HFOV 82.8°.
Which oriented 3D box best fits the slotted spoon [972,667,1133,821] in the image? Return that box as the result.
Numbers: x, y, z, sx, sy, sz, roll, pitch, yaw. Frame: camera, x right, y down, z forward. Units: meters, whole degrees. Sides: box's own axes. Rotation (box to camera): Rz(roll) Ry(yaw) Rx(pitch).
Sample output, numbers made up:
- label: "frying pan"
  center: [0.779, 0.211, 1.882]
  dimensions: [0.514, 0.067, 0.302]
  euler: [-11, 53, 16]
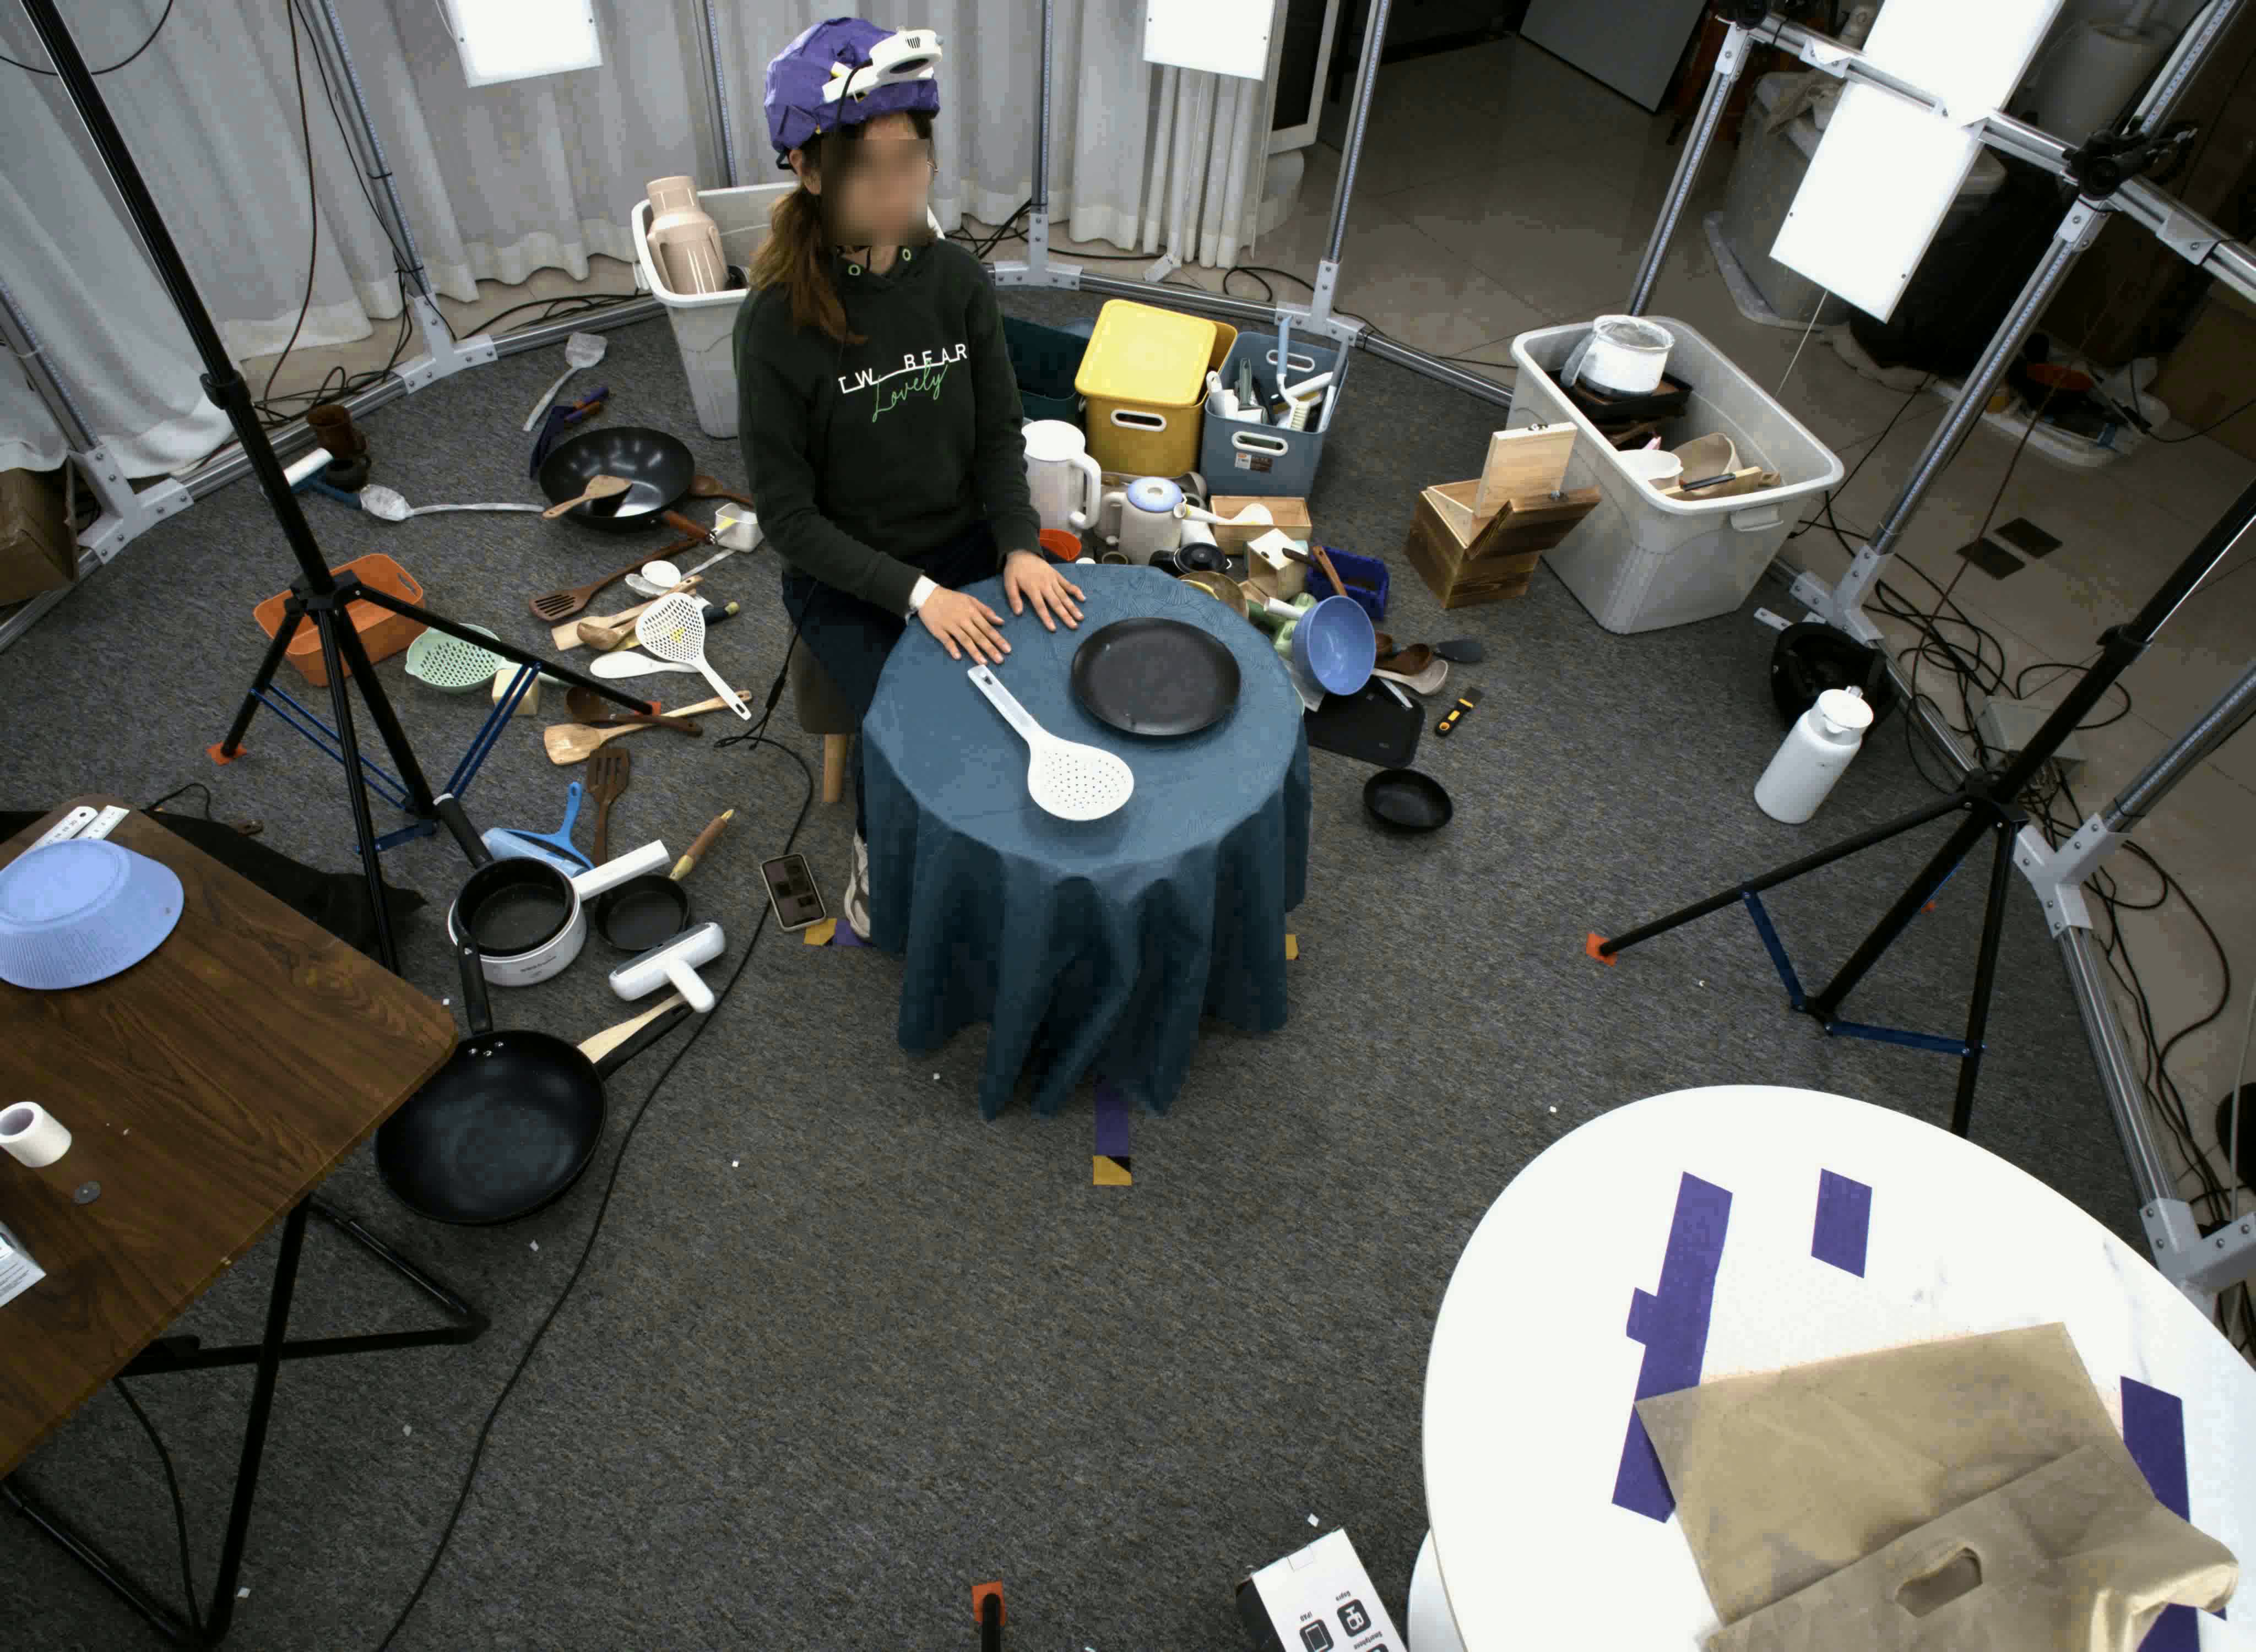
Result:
- label: "slotted spoon"
  center: [-0.120, -0.117, 1.748]
  dimensions: [0.136, 0.044, 0.357]
  euler: [-23, 53, -24]

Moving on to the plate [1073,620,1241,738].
- label: "plate"
  center: [0.041, -0.210, 1.855]
  dimensions: [0.244, 0.023, 0.250]
  euler: [2, 49, -2]
